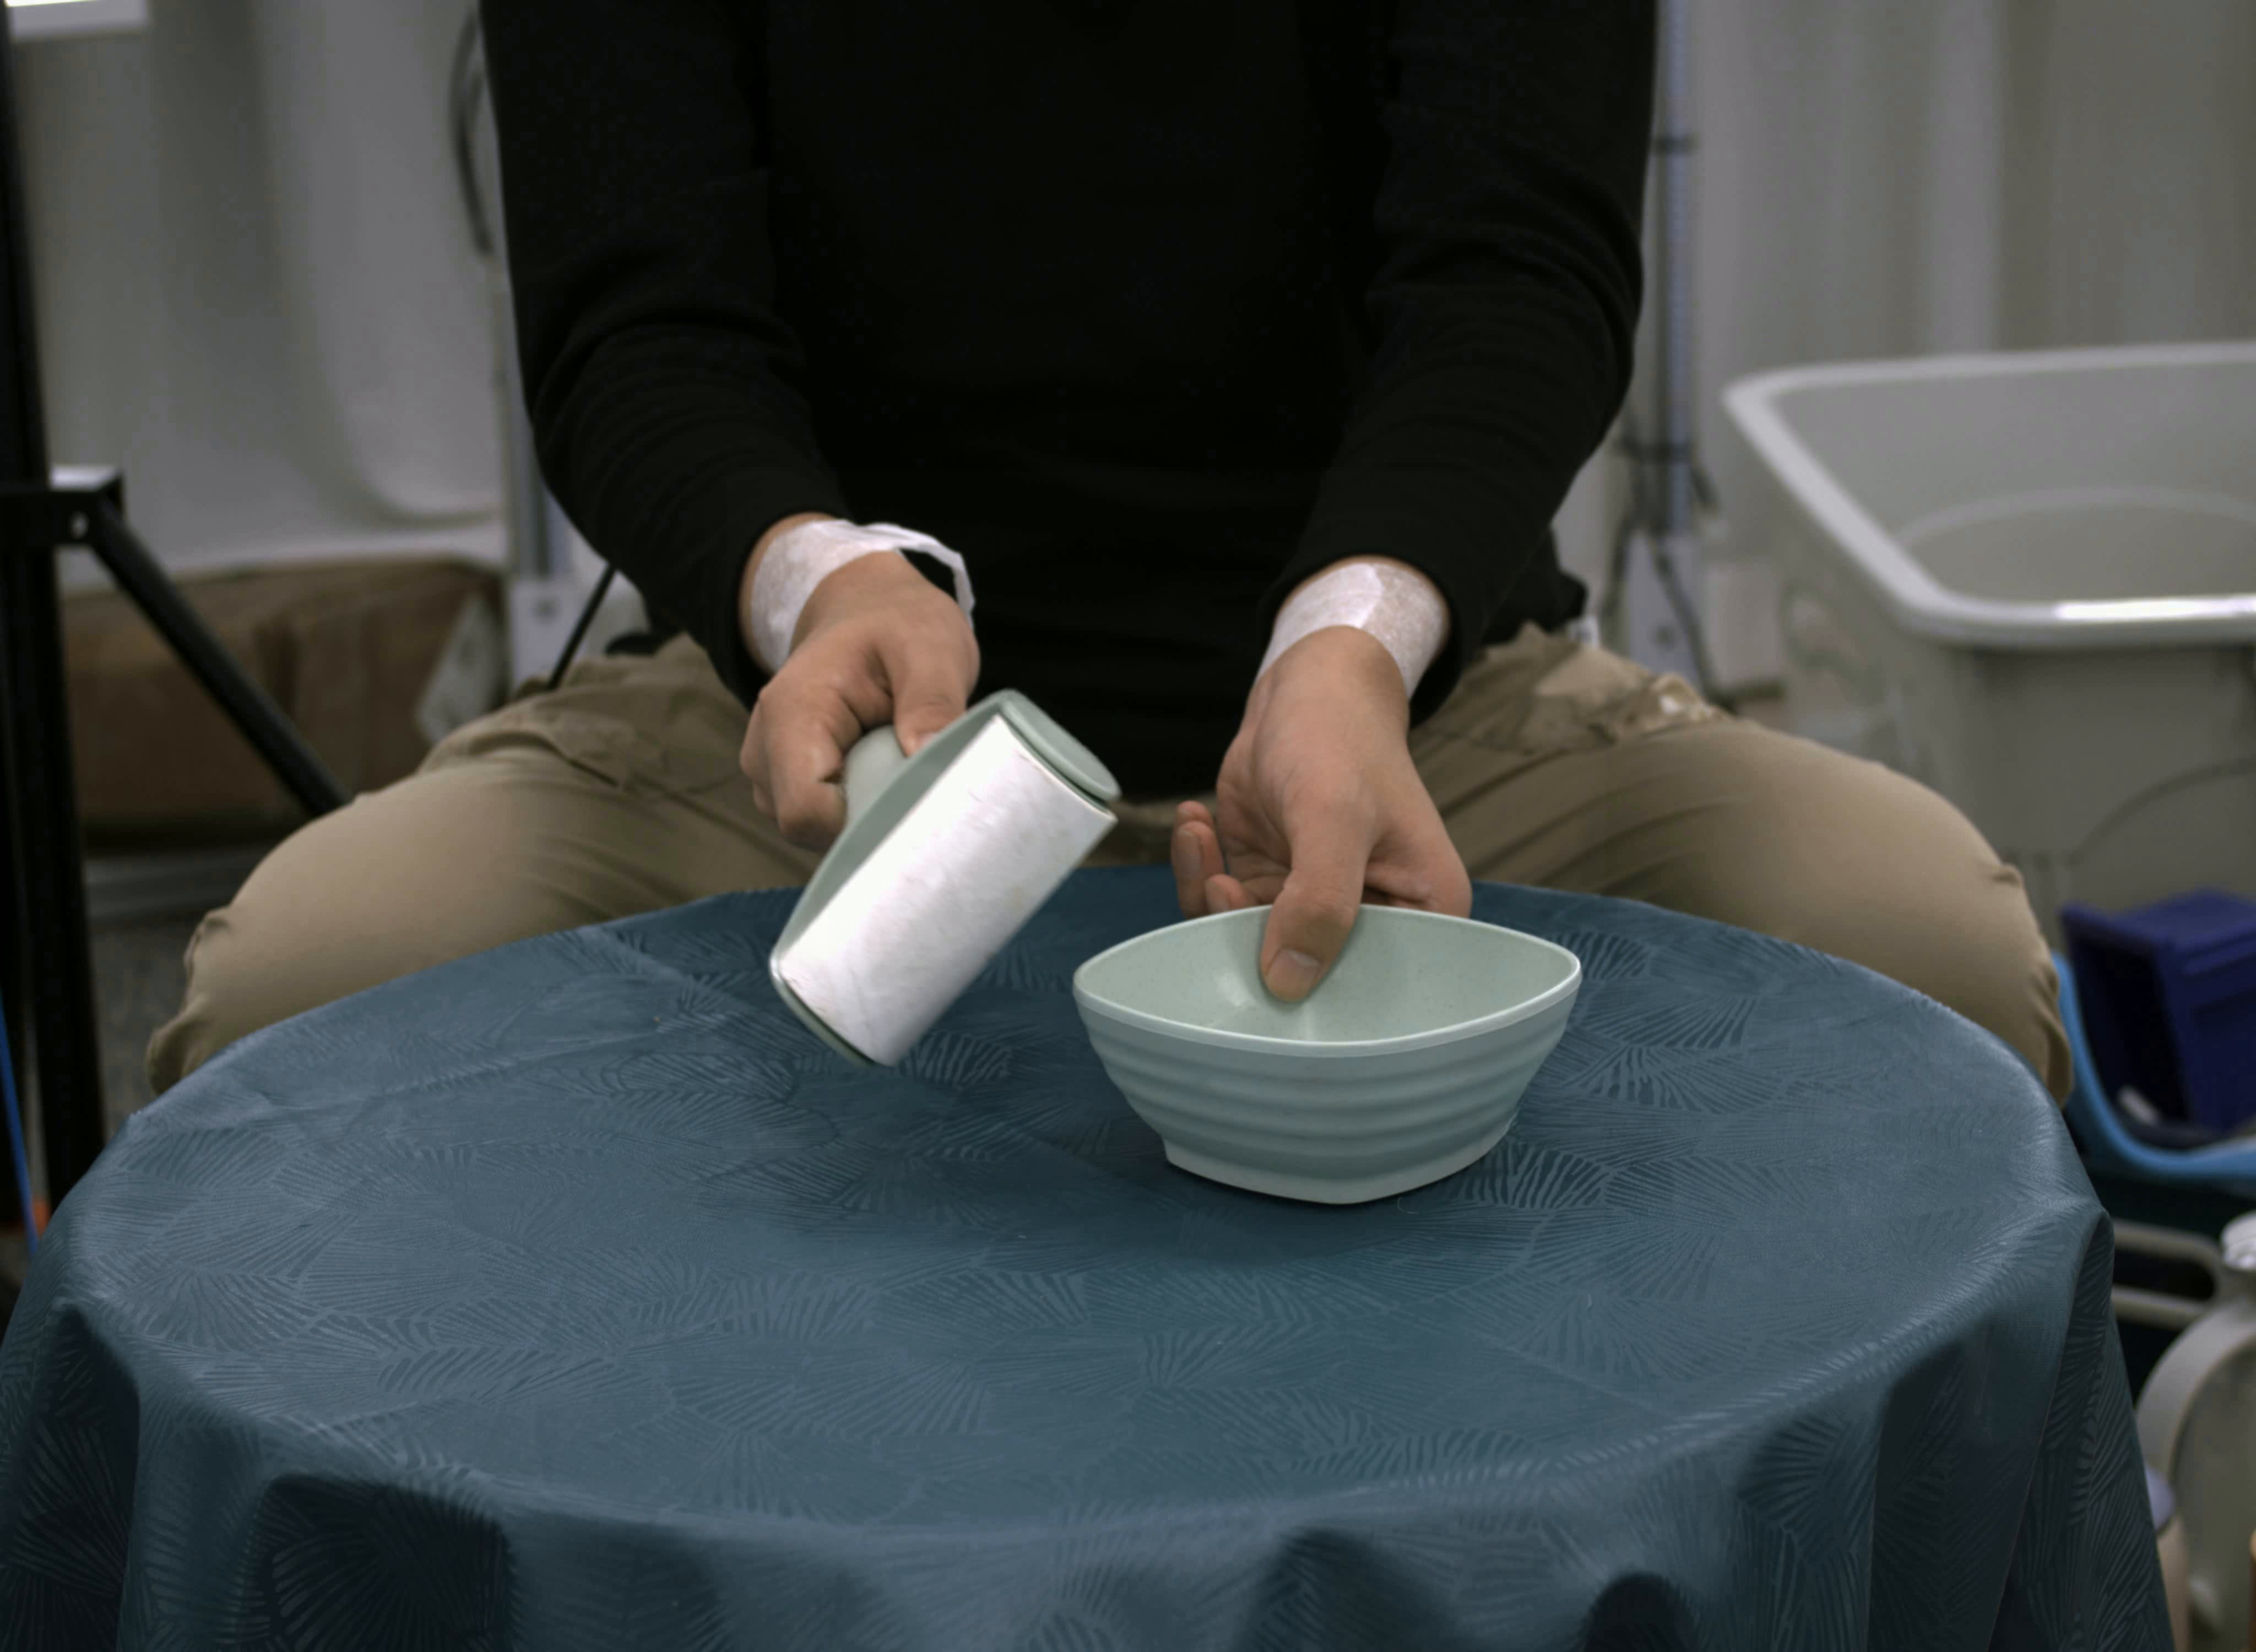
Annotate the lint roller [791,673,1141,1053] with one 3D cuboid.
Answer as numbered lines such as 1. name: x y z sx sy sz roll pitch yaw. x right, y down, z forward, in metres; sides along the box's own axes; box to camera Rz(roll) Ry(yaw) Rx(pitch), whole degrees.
1. lint roller: -0.059 -0.007 1.636 0.048 0.117 0.200 39 6 -18

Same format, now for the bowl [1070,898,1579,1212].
1. bowl: 0.058 0.071 1.573 0.150 0.058 0.152 -1 16 -1
